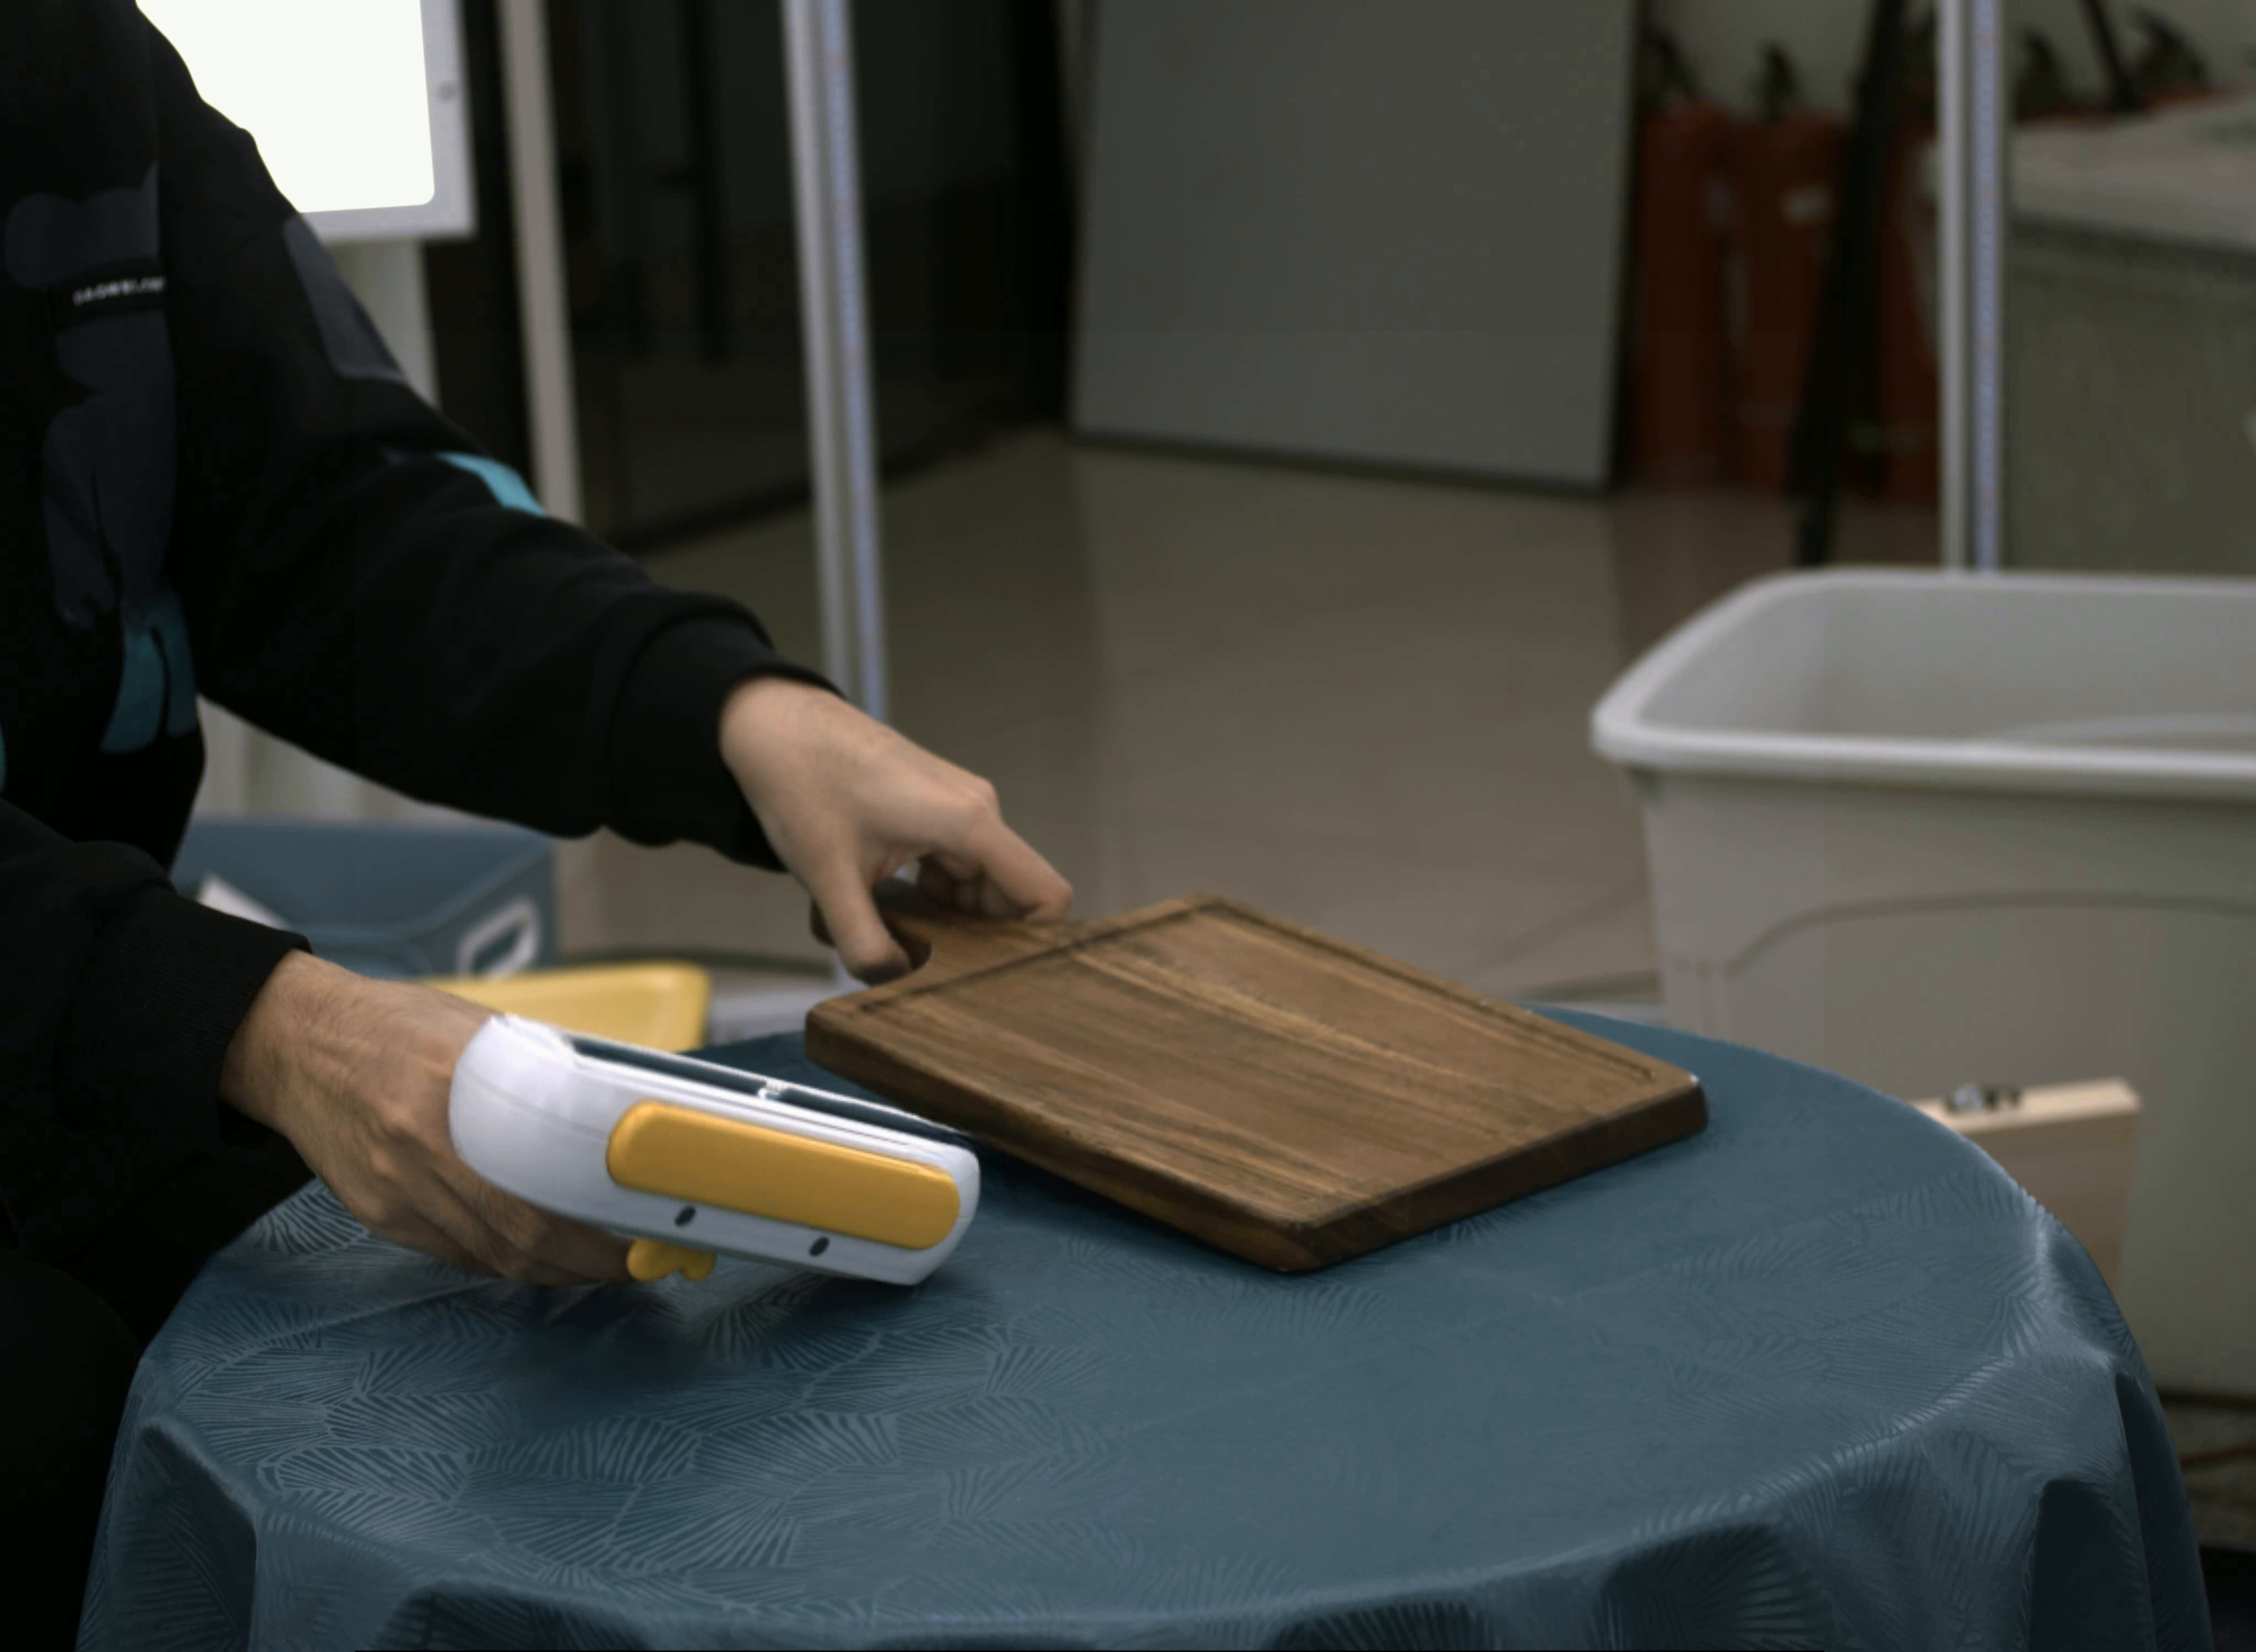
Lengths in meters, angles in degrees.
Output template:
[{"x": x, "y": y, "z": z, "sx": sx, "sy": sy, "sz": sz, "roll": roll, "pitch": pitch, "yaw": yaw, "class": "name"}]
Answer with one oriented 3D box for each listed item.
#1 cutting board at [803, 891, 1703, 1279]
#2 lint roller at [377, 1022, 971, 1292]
[{"x": 0.008, "y": 0.073, "z": 1.854, "sx": 0.197, "sy": 0.023, "sz": 0.356, "roll": -16, "pitch": 24, "yaw": -39, "class": "cutting board"}, {"x": -0.168, "y": 0.100, "z": 1.690, "sx": 0.188, "sy": 0.075, "sz": 0.194, "roll": 10, "pitch": 1, "yaw": -41, "class": "lint roller"}]
